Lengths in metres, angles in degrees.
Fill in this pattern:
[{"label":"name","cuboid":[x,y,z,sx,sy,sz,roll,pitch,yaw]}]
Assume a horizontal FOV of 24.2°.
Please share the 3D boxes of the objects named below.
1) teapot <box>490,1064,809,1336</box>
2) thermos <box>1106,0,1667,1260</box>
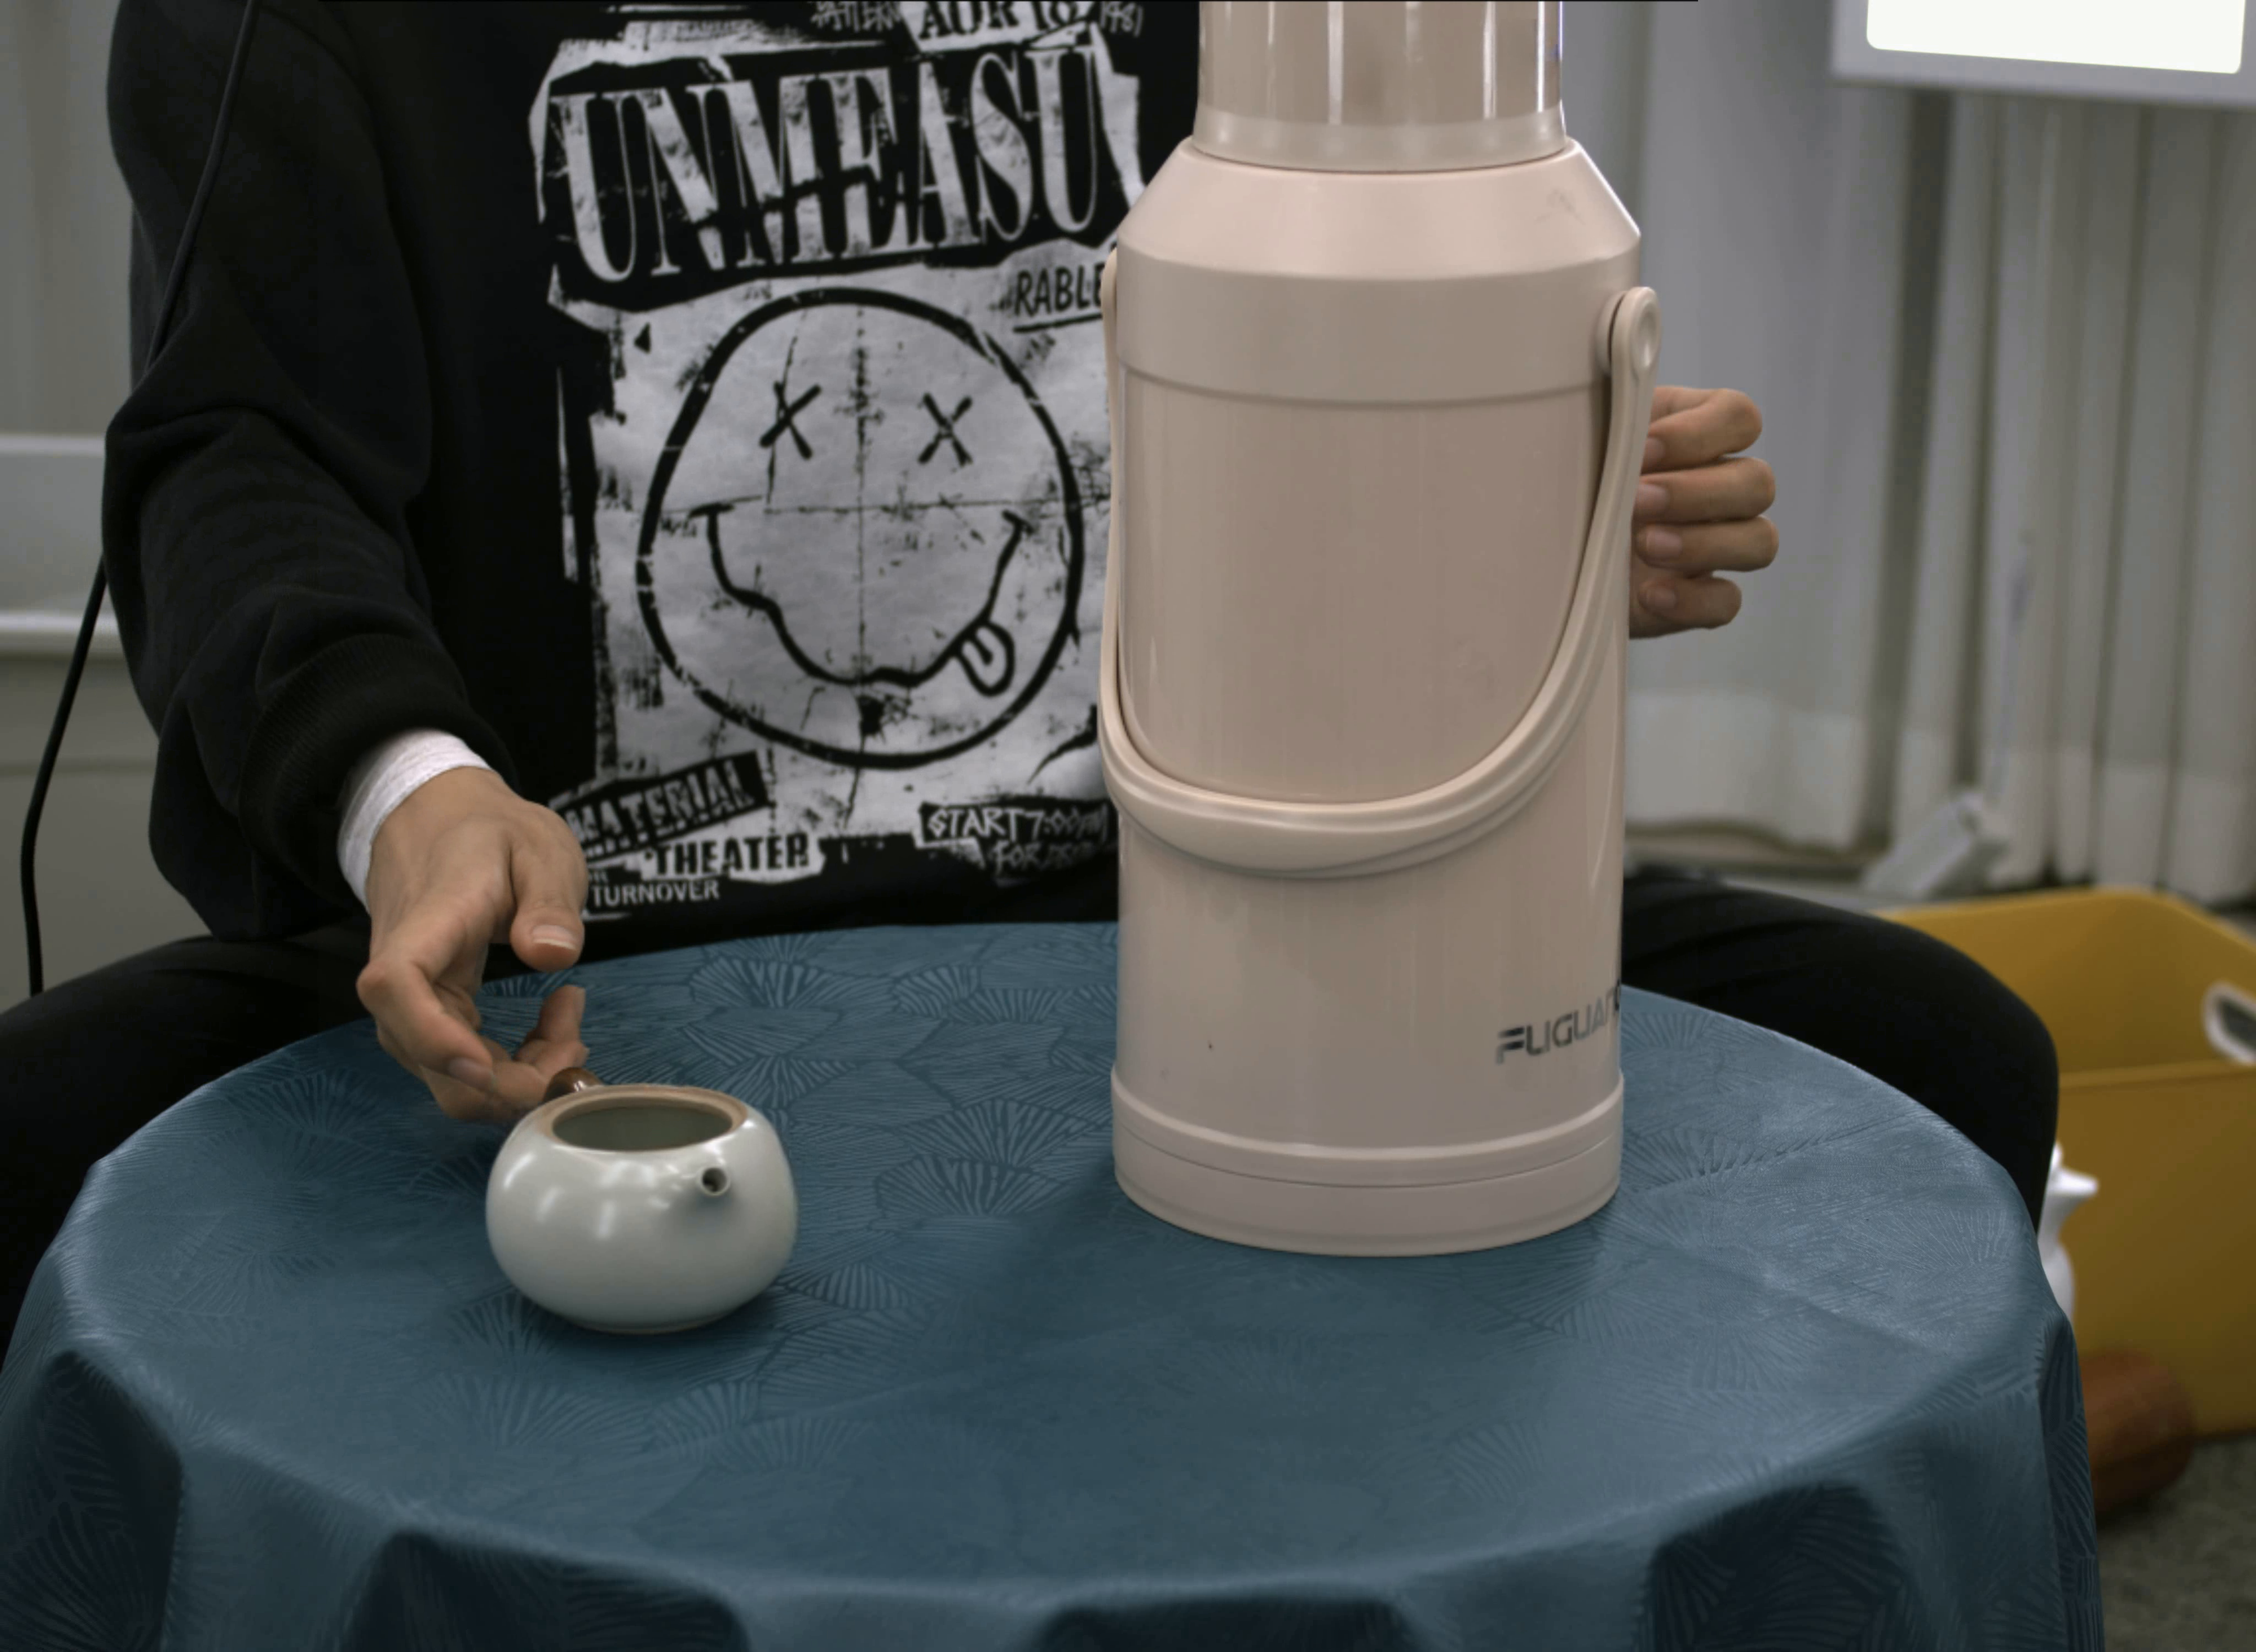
[{"label":"teapot","cuboid":[-0.143,0.107,1.525,0.092,0.060,0.126,-14,21,-27]},{"label":"thermos","cuboid":[0.084,-0.086,1.597,0.173,0.410,0.207,7,18,26]}]
